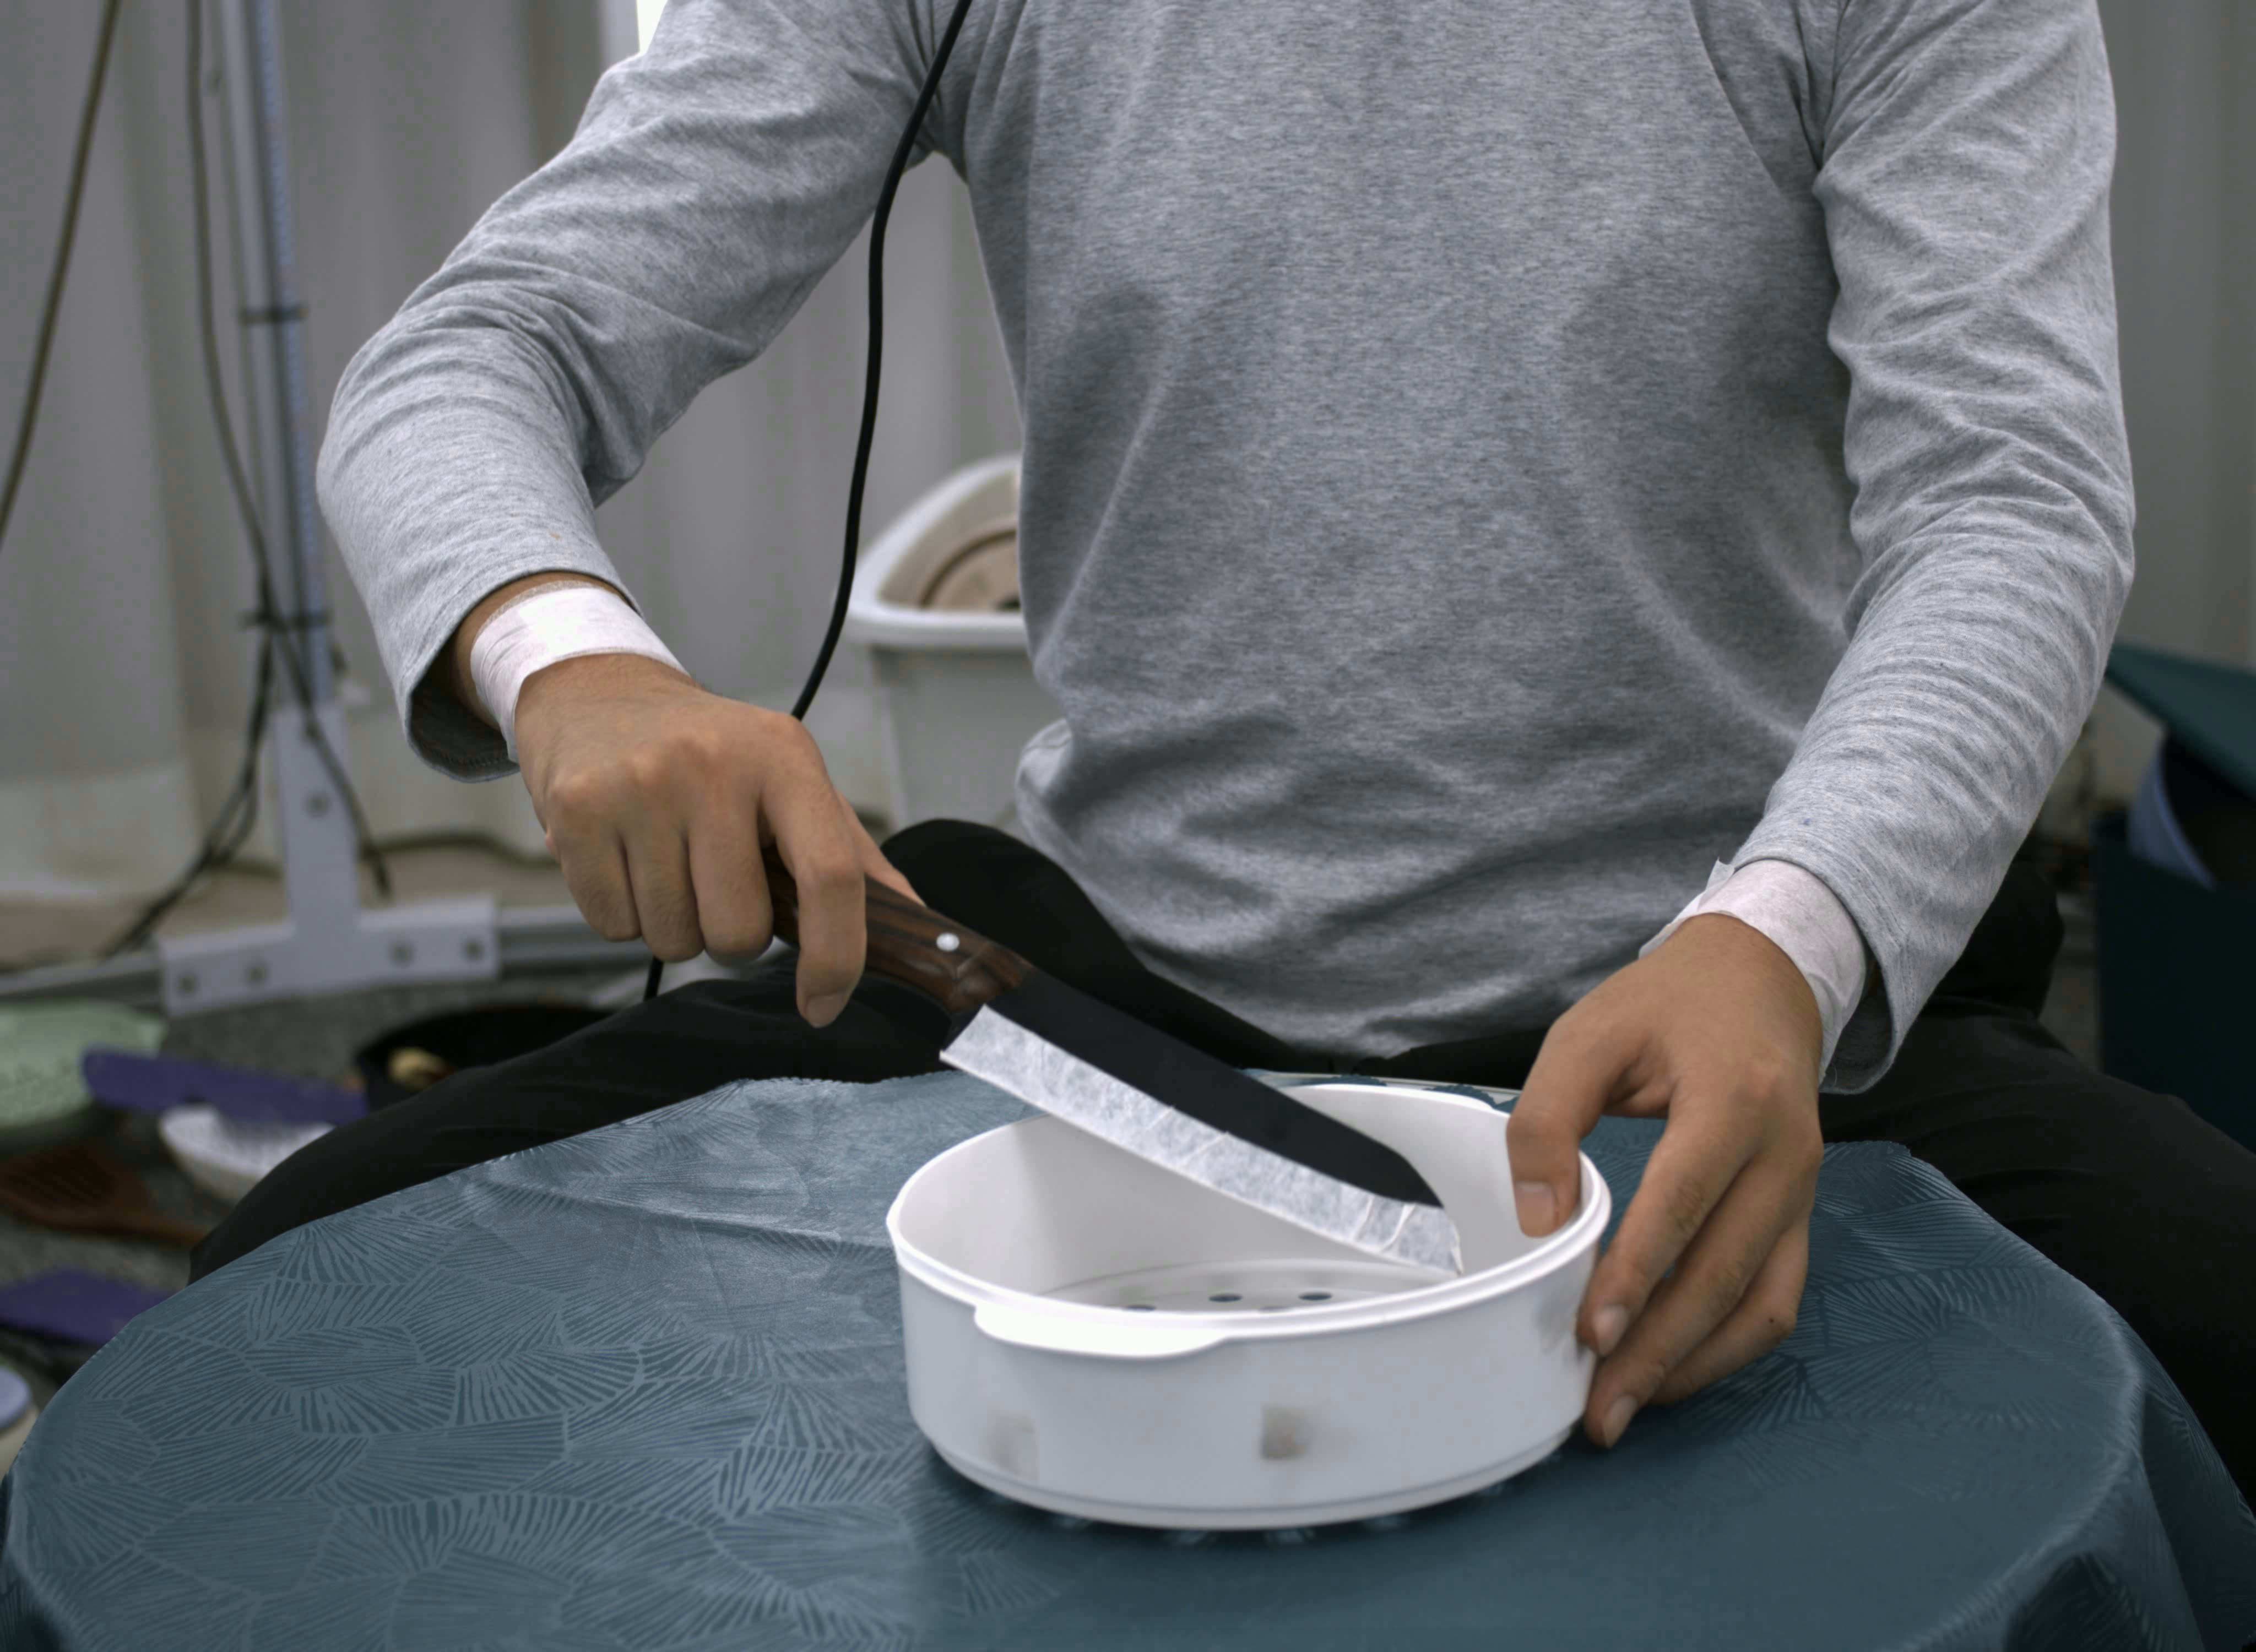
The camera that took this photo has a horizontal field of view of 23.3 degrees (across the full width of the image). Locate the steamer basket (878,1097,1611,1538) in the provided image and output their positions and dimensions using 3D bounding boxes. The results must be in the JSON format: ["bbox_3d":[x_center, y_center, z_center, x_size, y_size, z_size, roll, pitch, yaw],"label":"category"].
[{"bbox_3d":[0.033,0.135,1.507,0.202,0.069,0.231,5,15,26],"label":"steamer basket"}]

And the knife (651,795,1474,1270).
[{"bbox_3d":[-0.023,0.060,1.584,0.290,0.020,0.050,27,52,22],"label":"knife"}]
